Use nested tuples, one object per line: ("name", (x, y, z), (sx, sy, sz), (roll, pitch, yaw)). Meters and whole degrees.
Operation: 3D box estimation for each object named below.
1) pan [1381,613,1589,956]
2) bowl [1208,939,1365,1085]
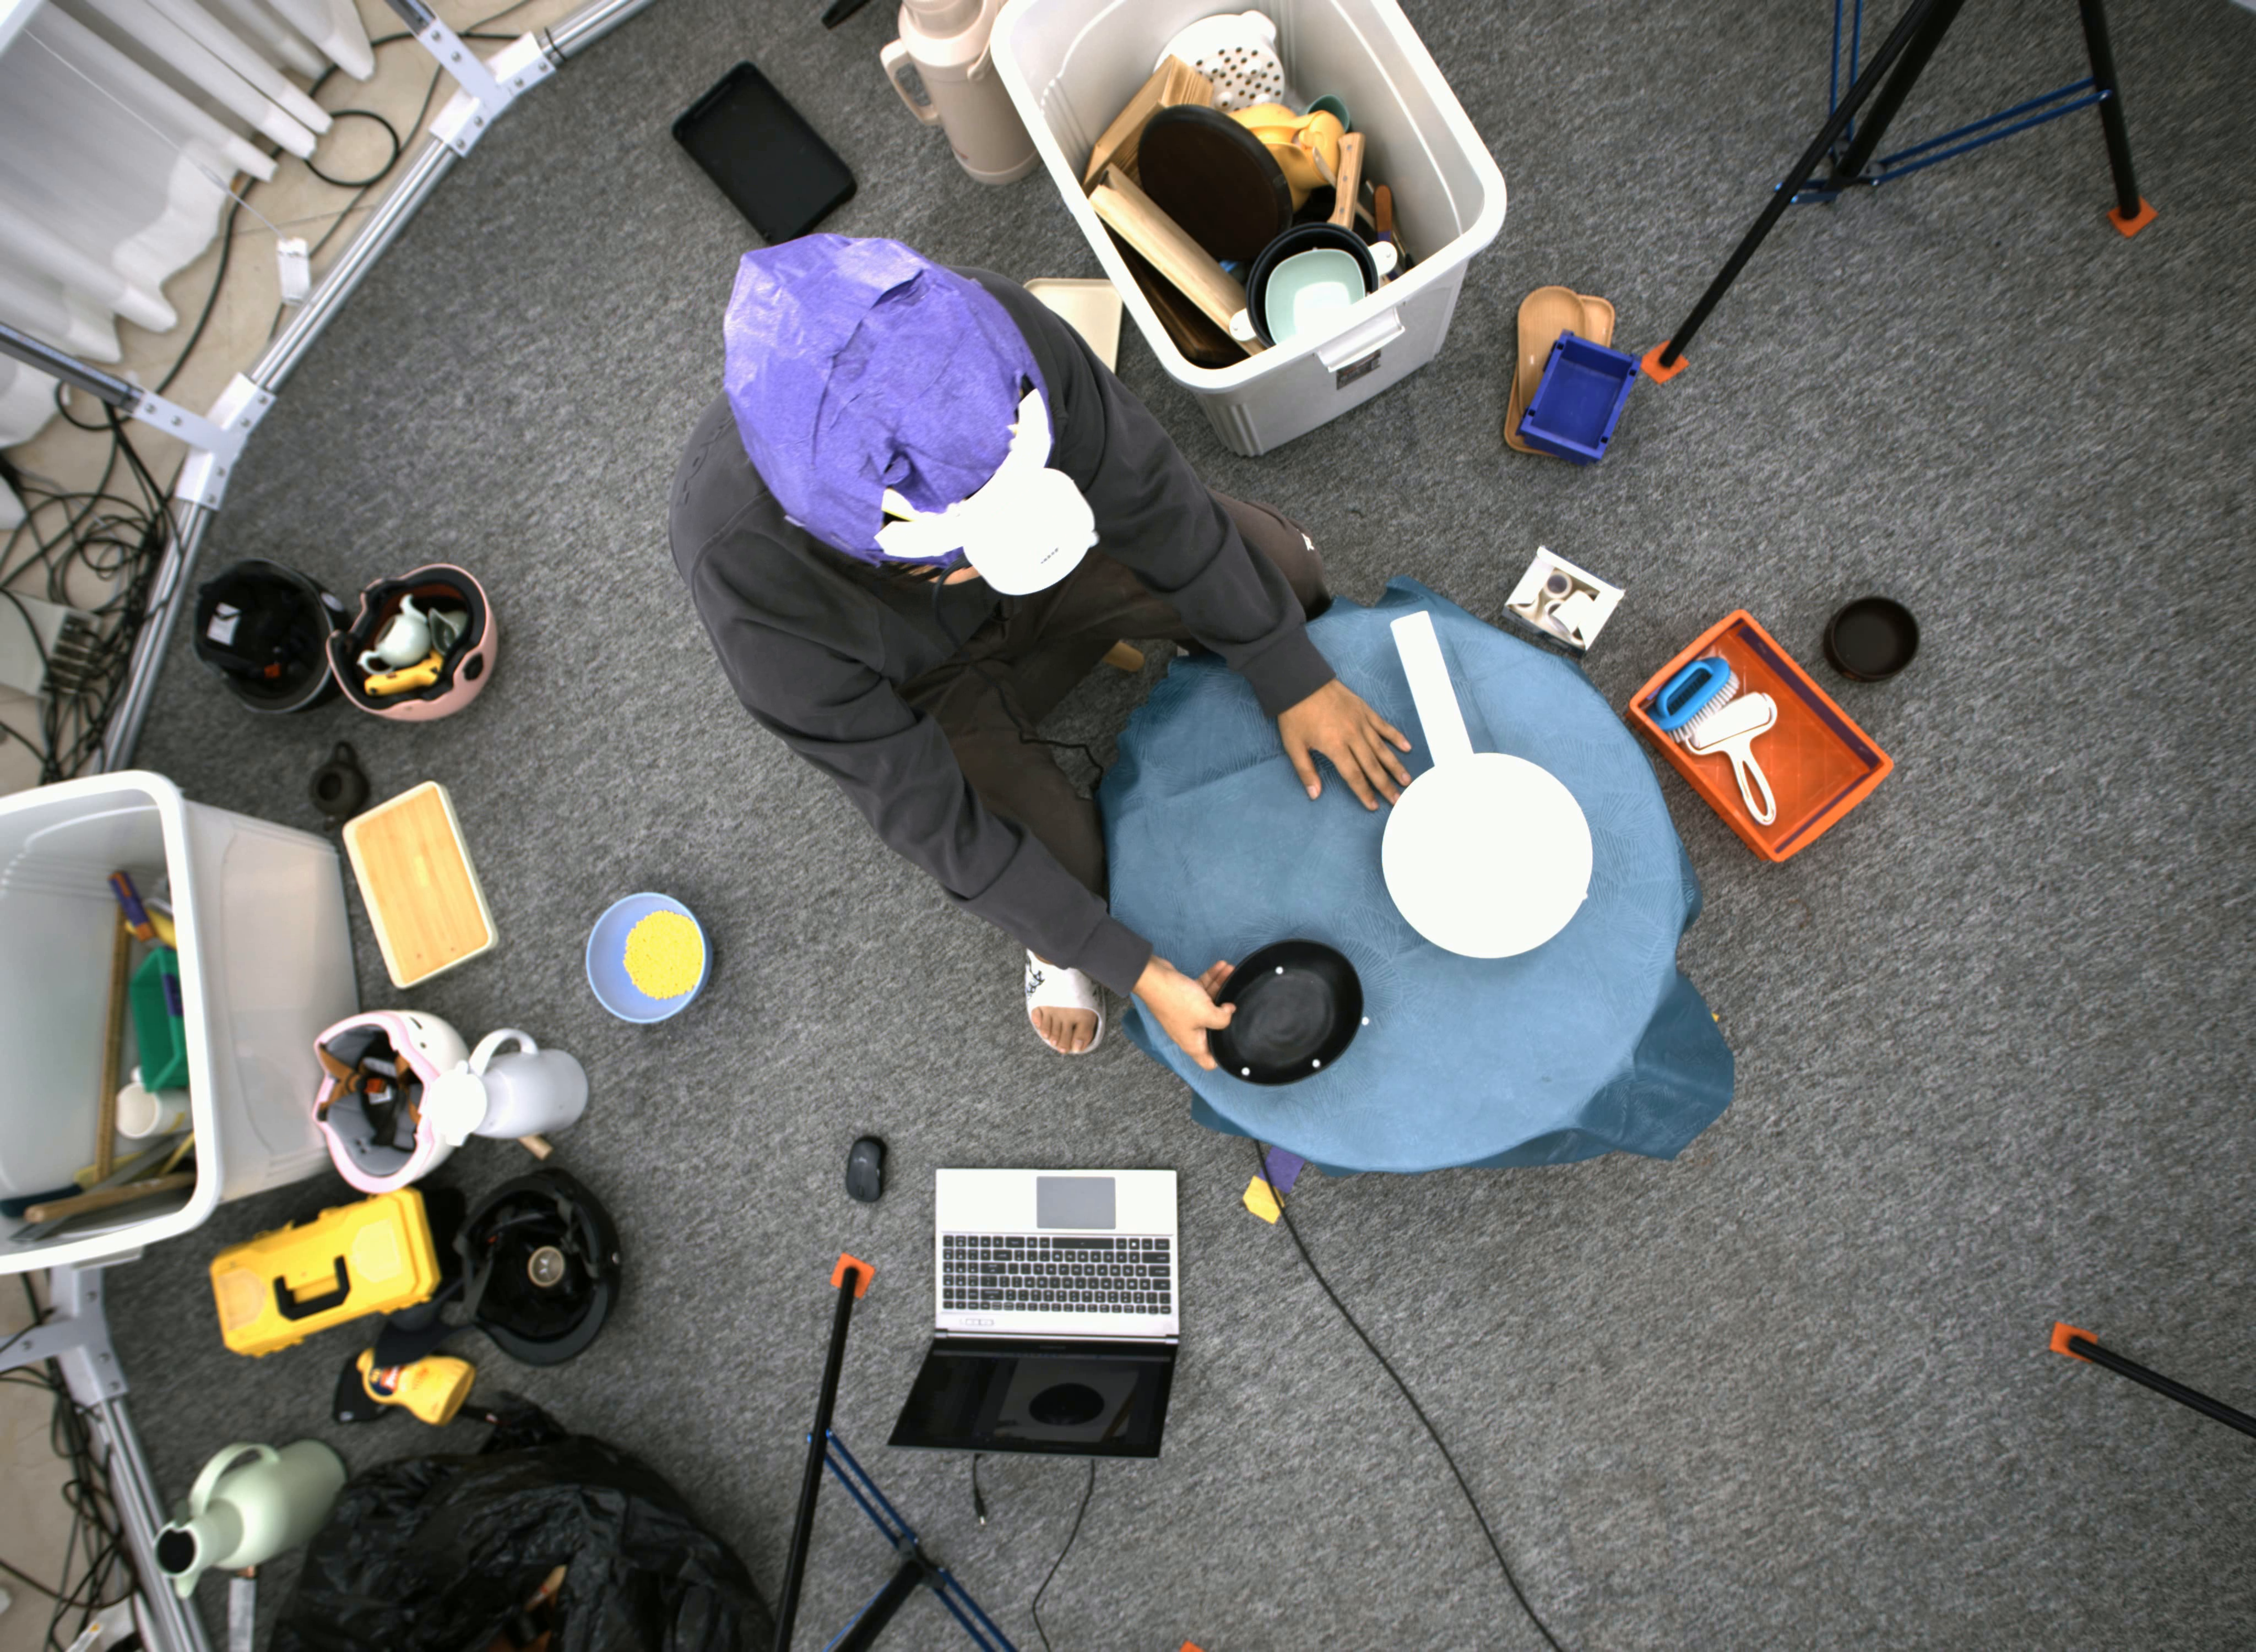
("pan", (0.341, -0.041, 1.412), (0.203, 0.102, 0.352), (-18, 81, 13))
("bowl", (0.163, 0.196, 1.428), (0.170, 0.067, 0.136), (-38, 75, -3))
